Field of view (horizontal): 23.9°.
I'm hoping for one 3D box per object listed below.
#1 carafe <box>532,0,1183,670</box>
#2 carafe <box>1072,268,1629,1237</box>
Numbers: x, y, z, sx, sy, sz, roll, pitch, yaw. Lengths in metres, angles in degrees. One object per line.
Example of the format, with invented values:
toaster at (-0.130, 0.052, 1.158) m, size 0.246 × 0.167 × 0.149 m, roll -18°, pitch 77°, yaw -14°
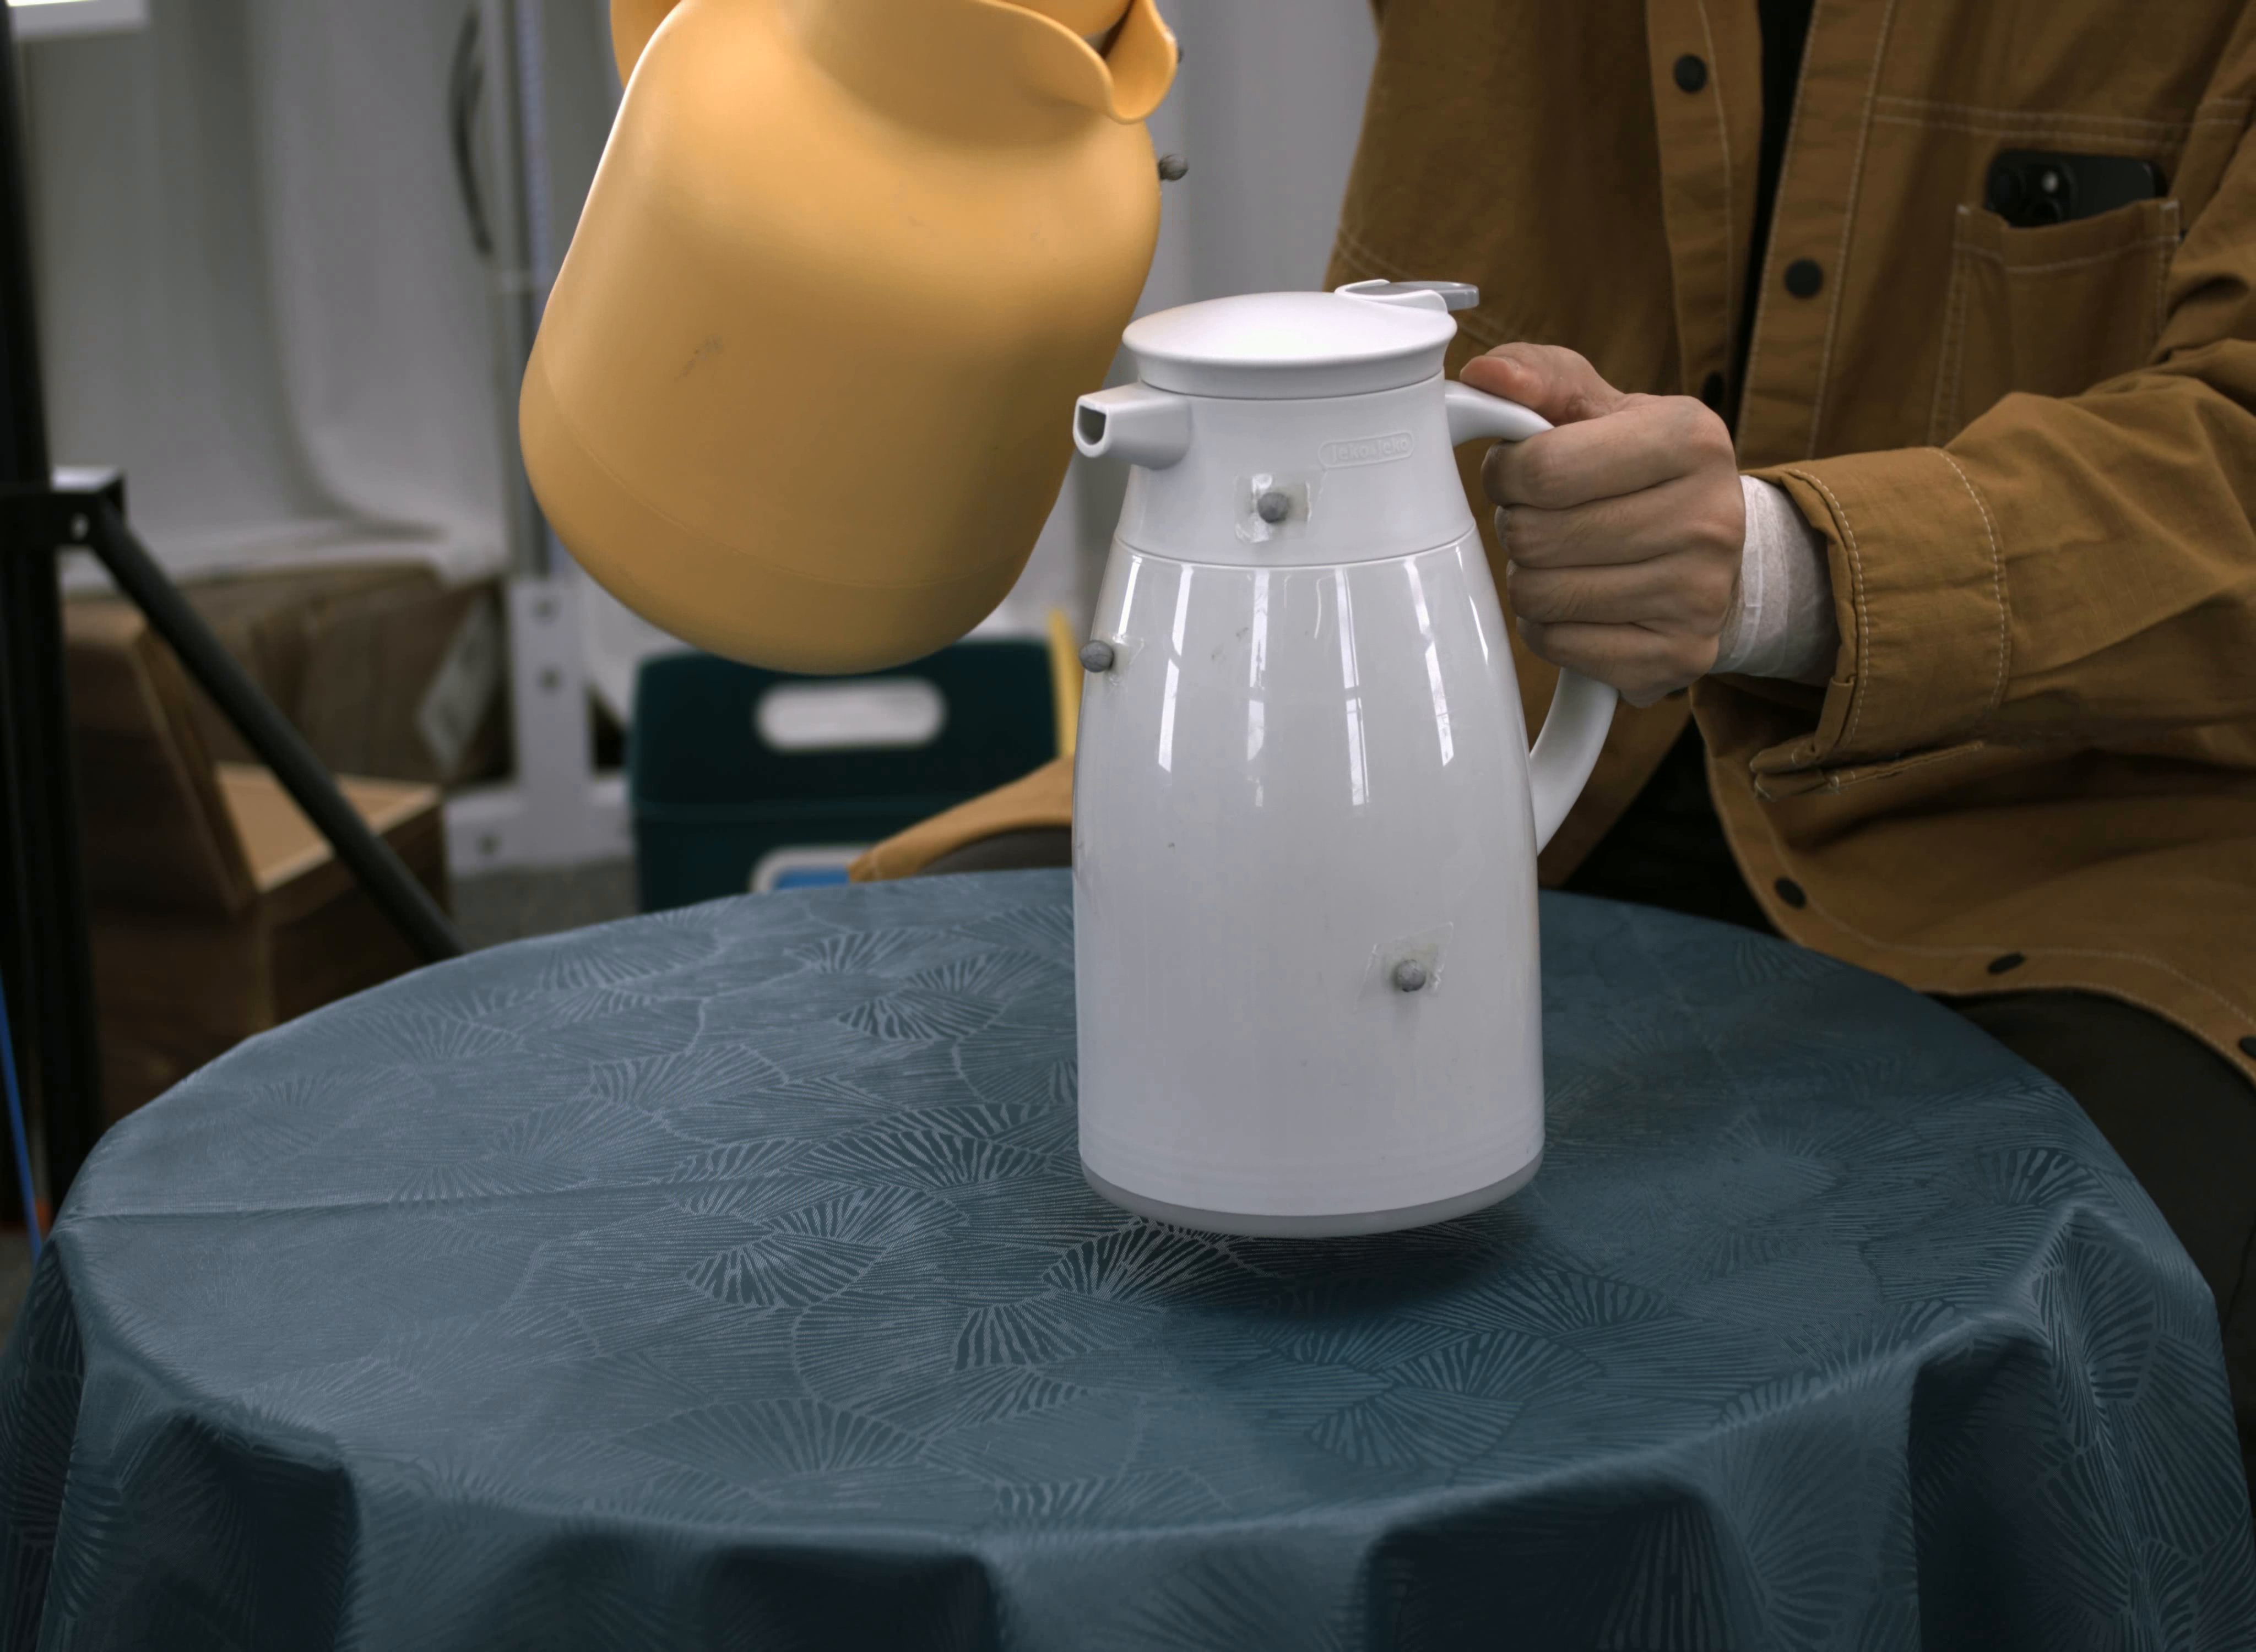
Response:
carafe at (-0.080, -0.193, 1.564) m, size 0.160 × 0.261 × 0.206 m, roll -17°, pitch 57°, yaw -37°
carafe at (0.064, -0.028, 1.478) m, size 0.164 × 0.249 × 0.135 m, roll -9°, pitch 16°, yaw -26°
